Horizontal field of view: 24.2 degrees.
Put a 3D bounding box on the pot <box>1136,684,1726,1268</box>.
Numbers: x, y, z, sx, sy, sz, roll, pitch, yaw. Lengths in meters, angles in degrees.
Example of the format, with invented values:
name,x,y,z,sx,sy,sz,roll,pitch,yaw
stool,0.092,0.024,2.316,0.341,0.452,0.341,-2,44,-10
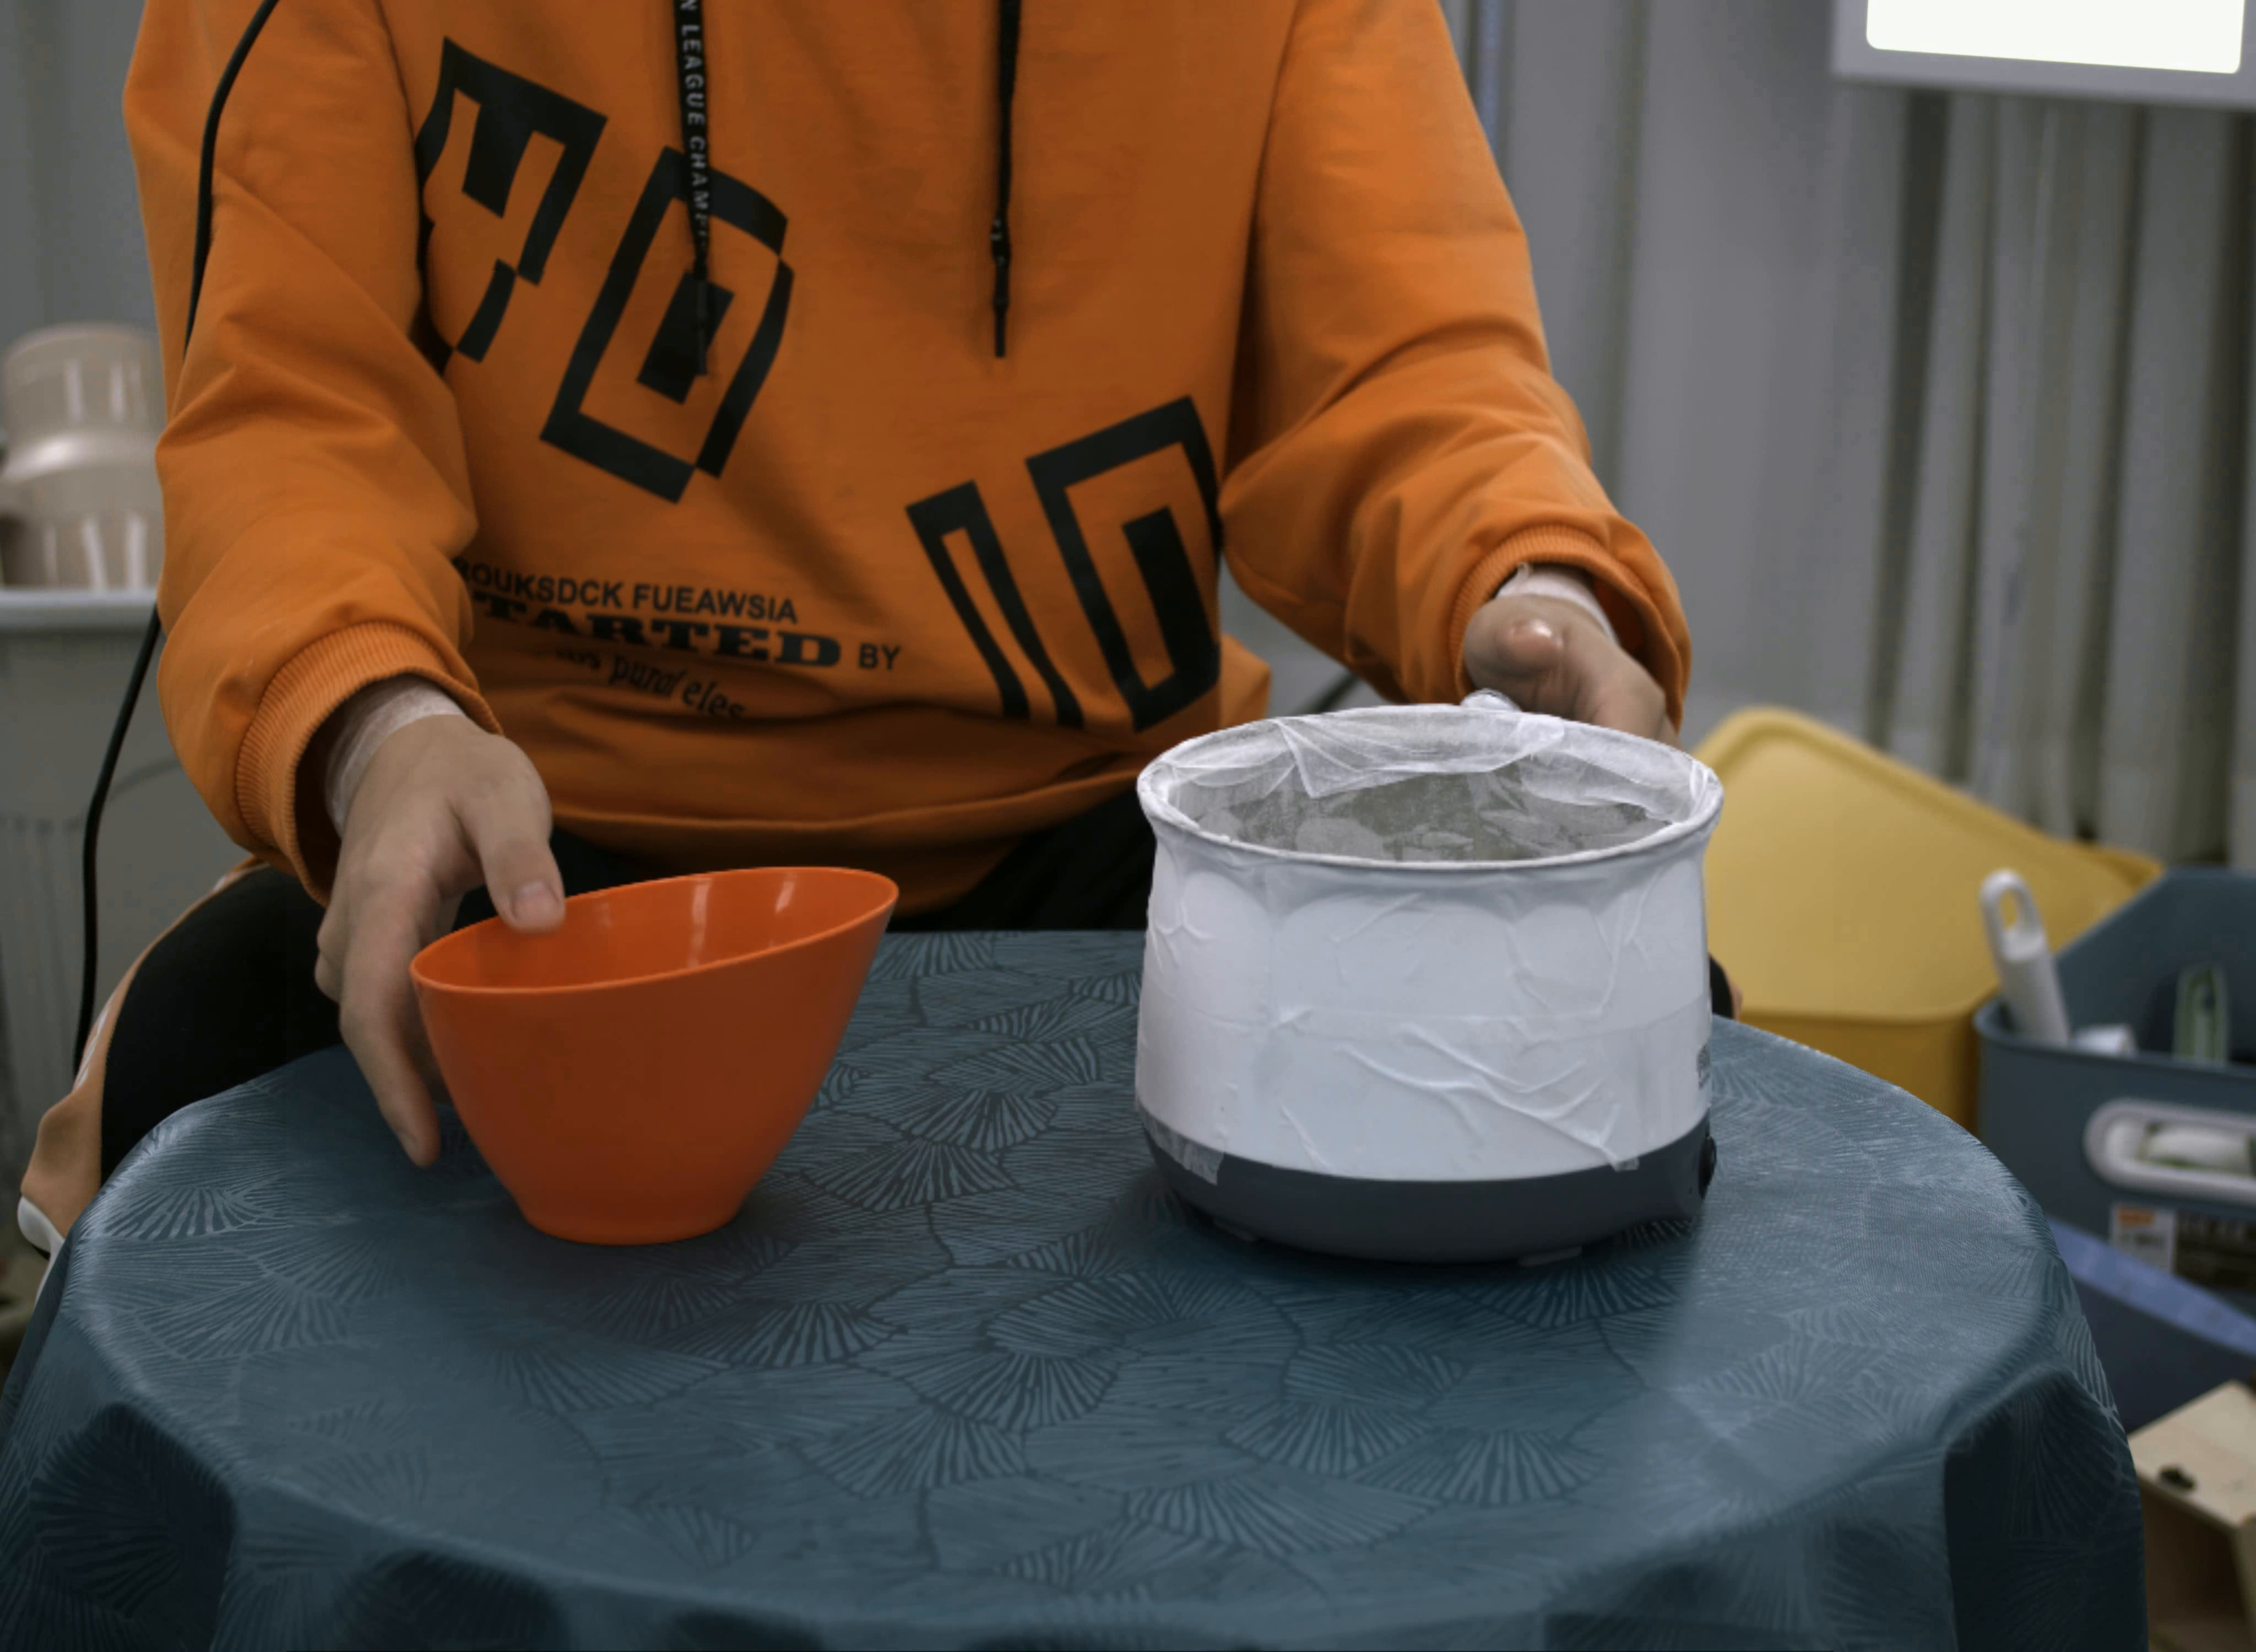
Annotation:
name,x,y,z,sx,sy,sz,roll,pitch,yaw
pot,0.096,0.040,1.627,0.177,0.138,0.233,4,17,11

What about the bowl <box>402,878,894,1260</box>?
name,x,y,z,sx,sy,sz,roll,pitch,yaw
bowl,-0.143,0.073,1.582,0.147,0.105,0.147,-1,15,1
